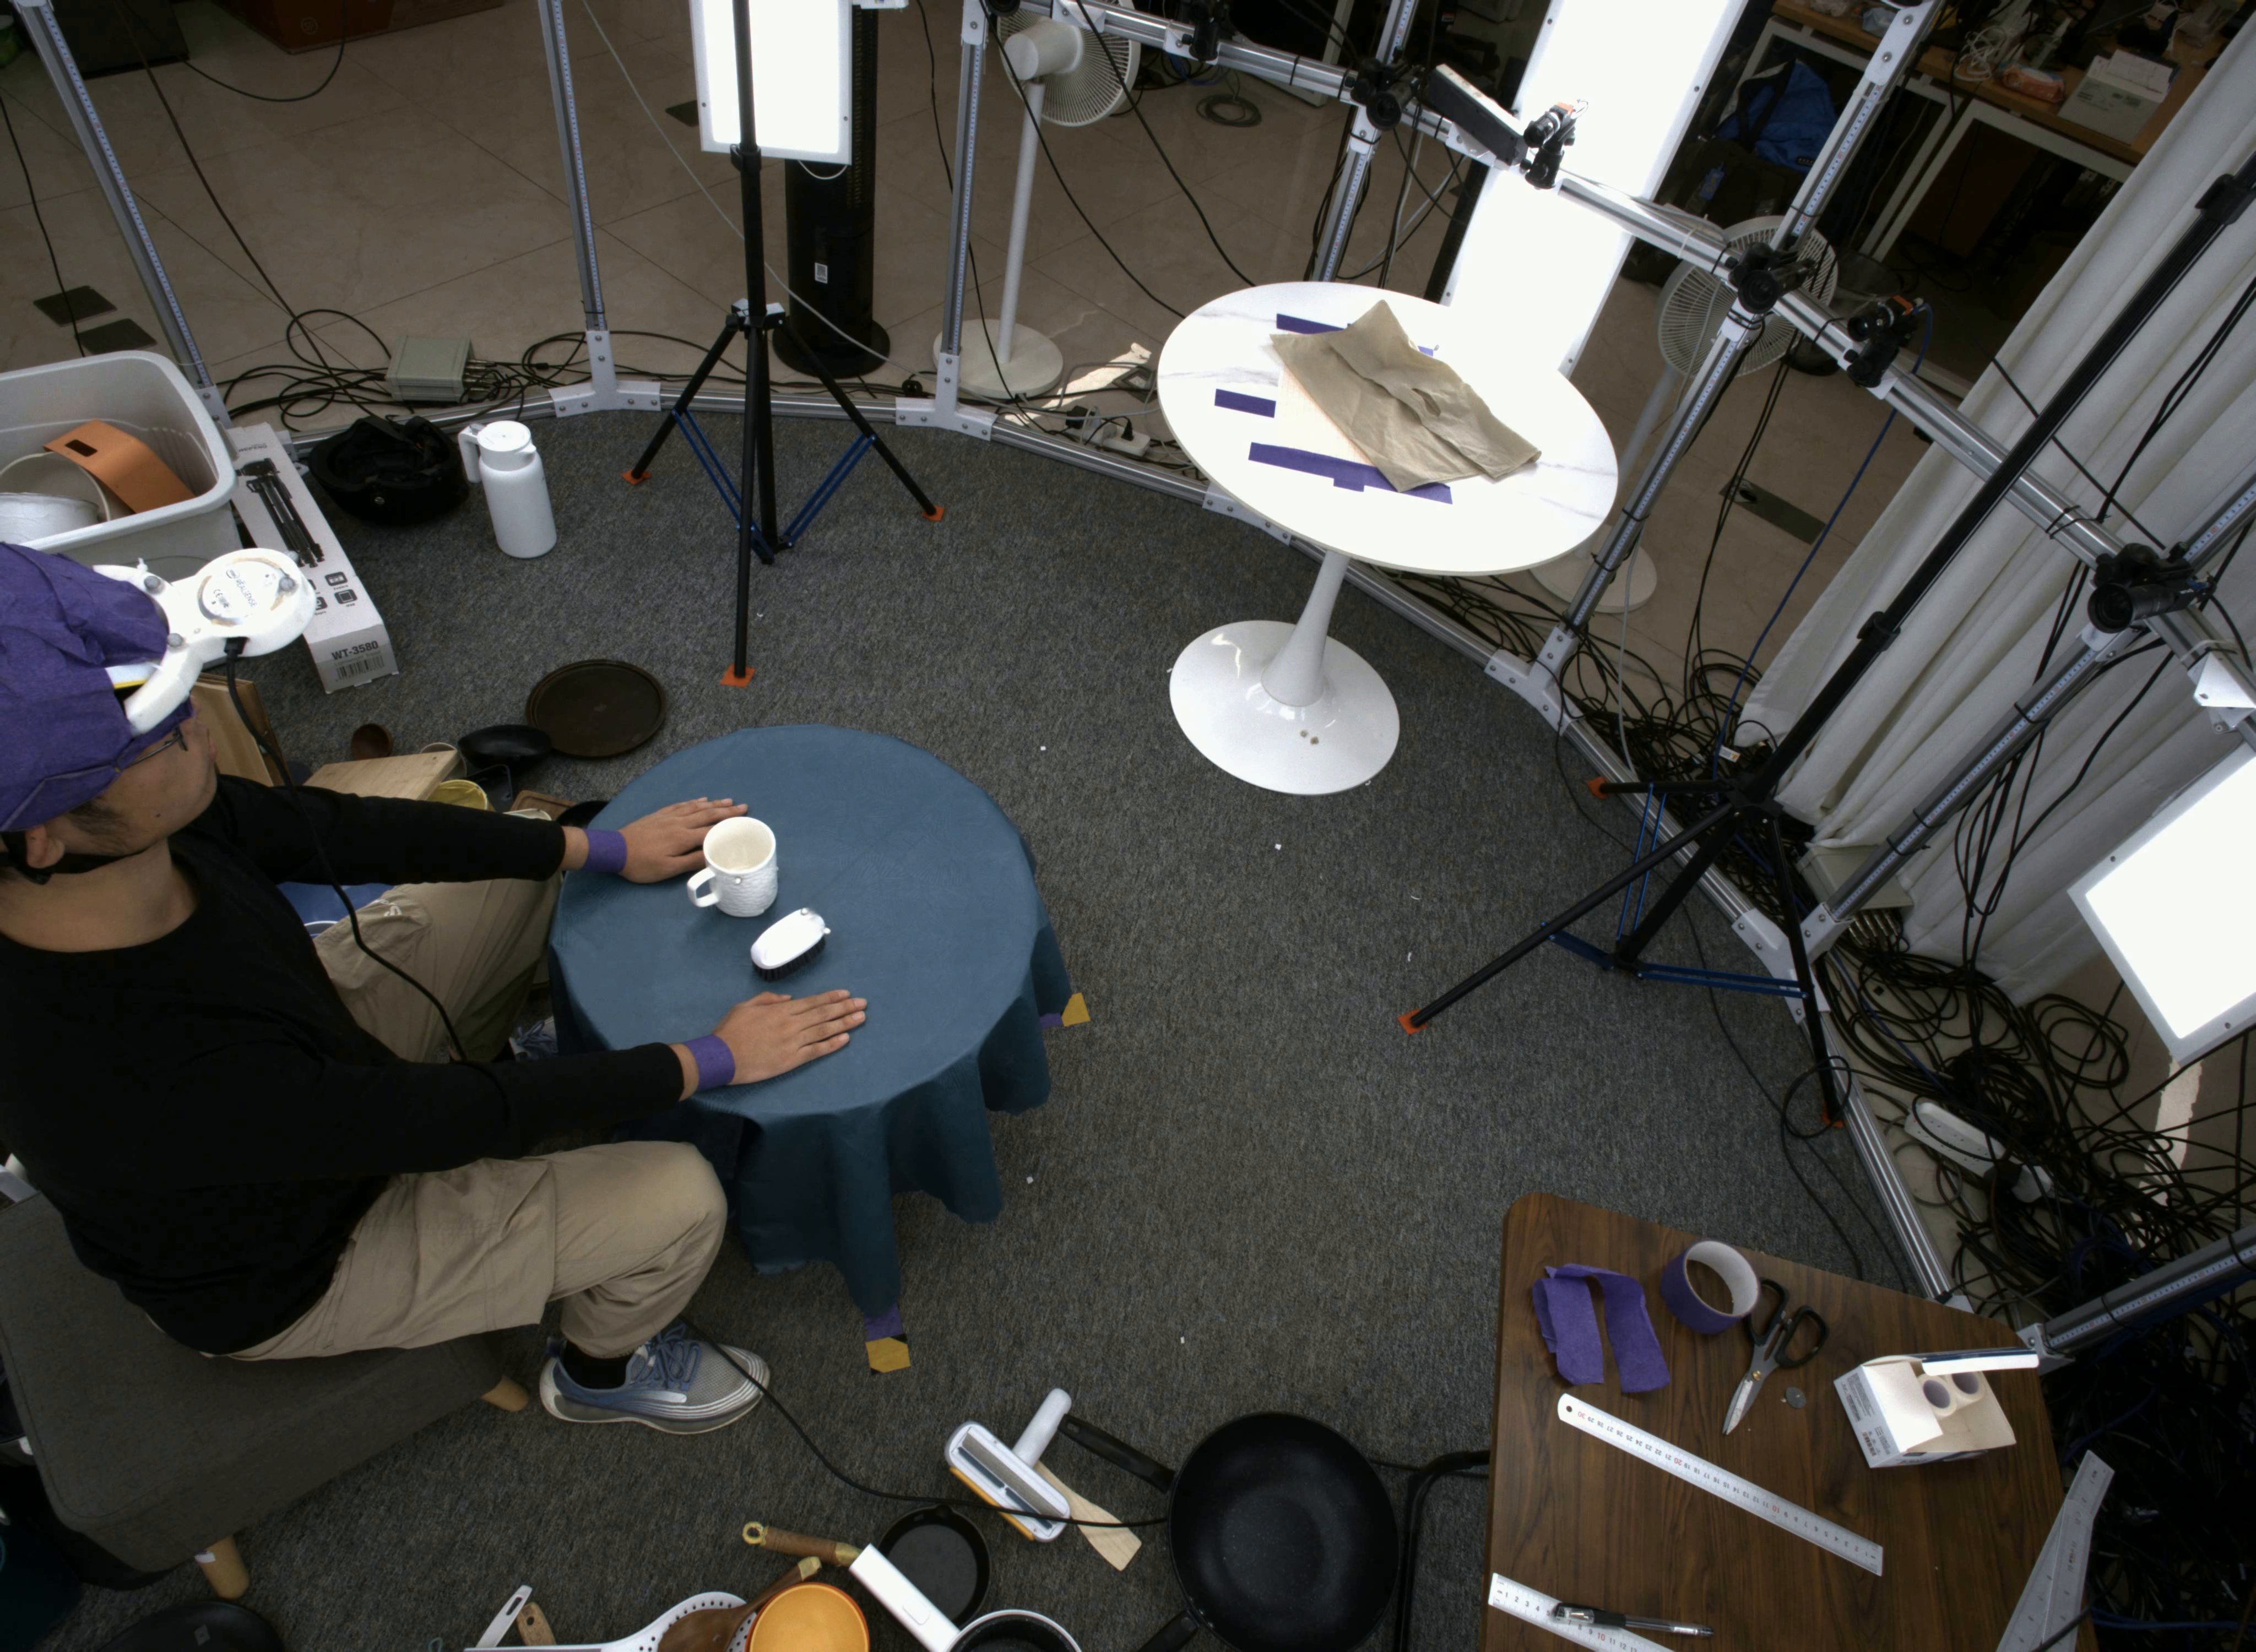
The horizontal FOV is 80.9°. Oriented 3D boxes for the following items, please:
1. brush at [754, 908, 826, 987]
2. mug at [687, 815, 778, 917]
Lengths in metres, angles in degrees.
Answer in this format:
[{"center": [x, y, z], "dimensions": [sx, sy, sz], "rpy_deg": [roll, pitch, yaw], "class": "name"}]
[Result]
[{"center": [-0.414, 0.138, 1.580], "dimensions": [0.049, 0.074, 0.099], "rpy_deg": [32, 48, 19], "class": "brush"}, {"center": [-0.492, 0.058, 1.600], "dimensions": [0.083, 0.104, 0.118], "rpy_deg": [40, 55, 18], "class": "mug"}]
